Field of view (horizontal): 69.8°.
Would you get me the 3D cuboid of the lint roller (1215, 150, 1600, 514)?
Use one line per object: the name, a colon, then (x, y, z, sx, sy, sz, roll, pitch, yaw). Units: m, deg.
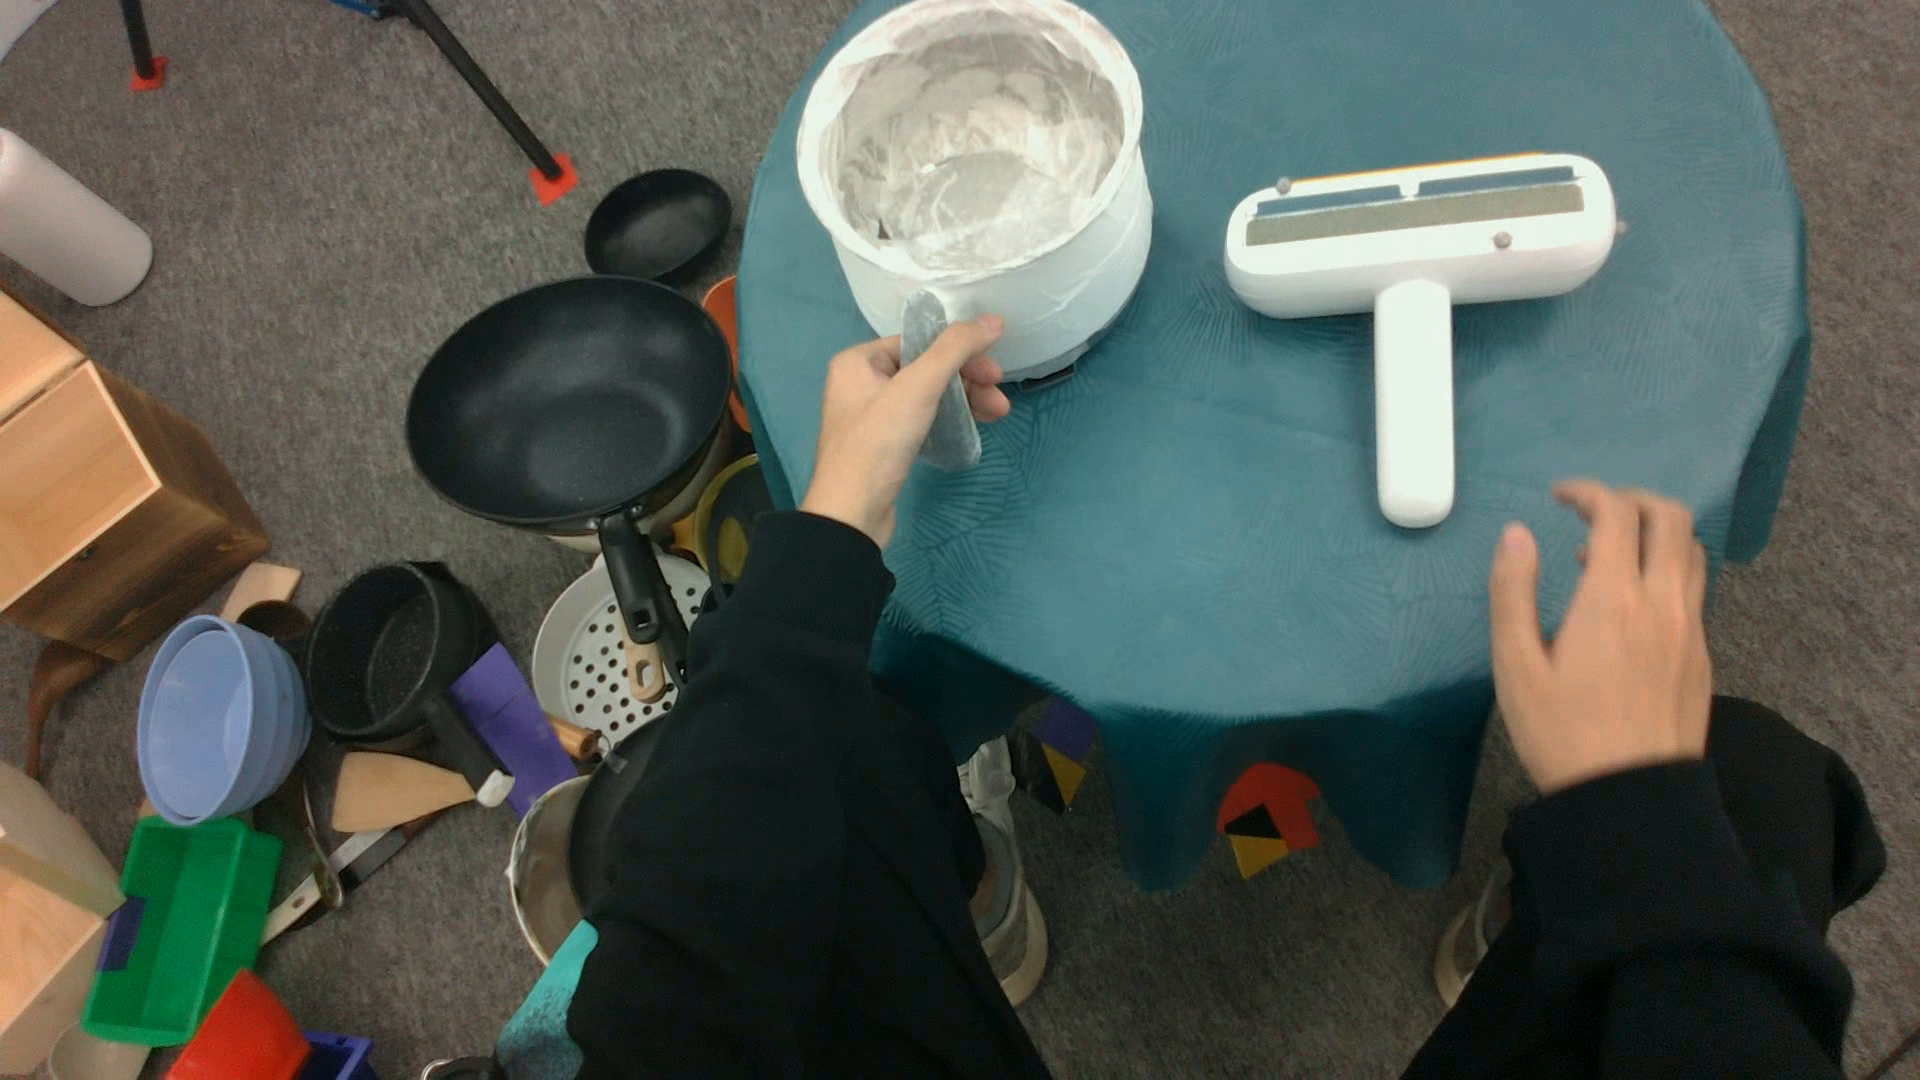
lint roller: (0.225, -0.111, 0.718, 0.192, 0.074, 0.193, 4, 72, 17)

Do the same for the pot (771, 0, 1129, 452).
pot: (-0.004, -0.170, 0.742, 0.178, 0.136, 0.234, 6, 69, 14)
